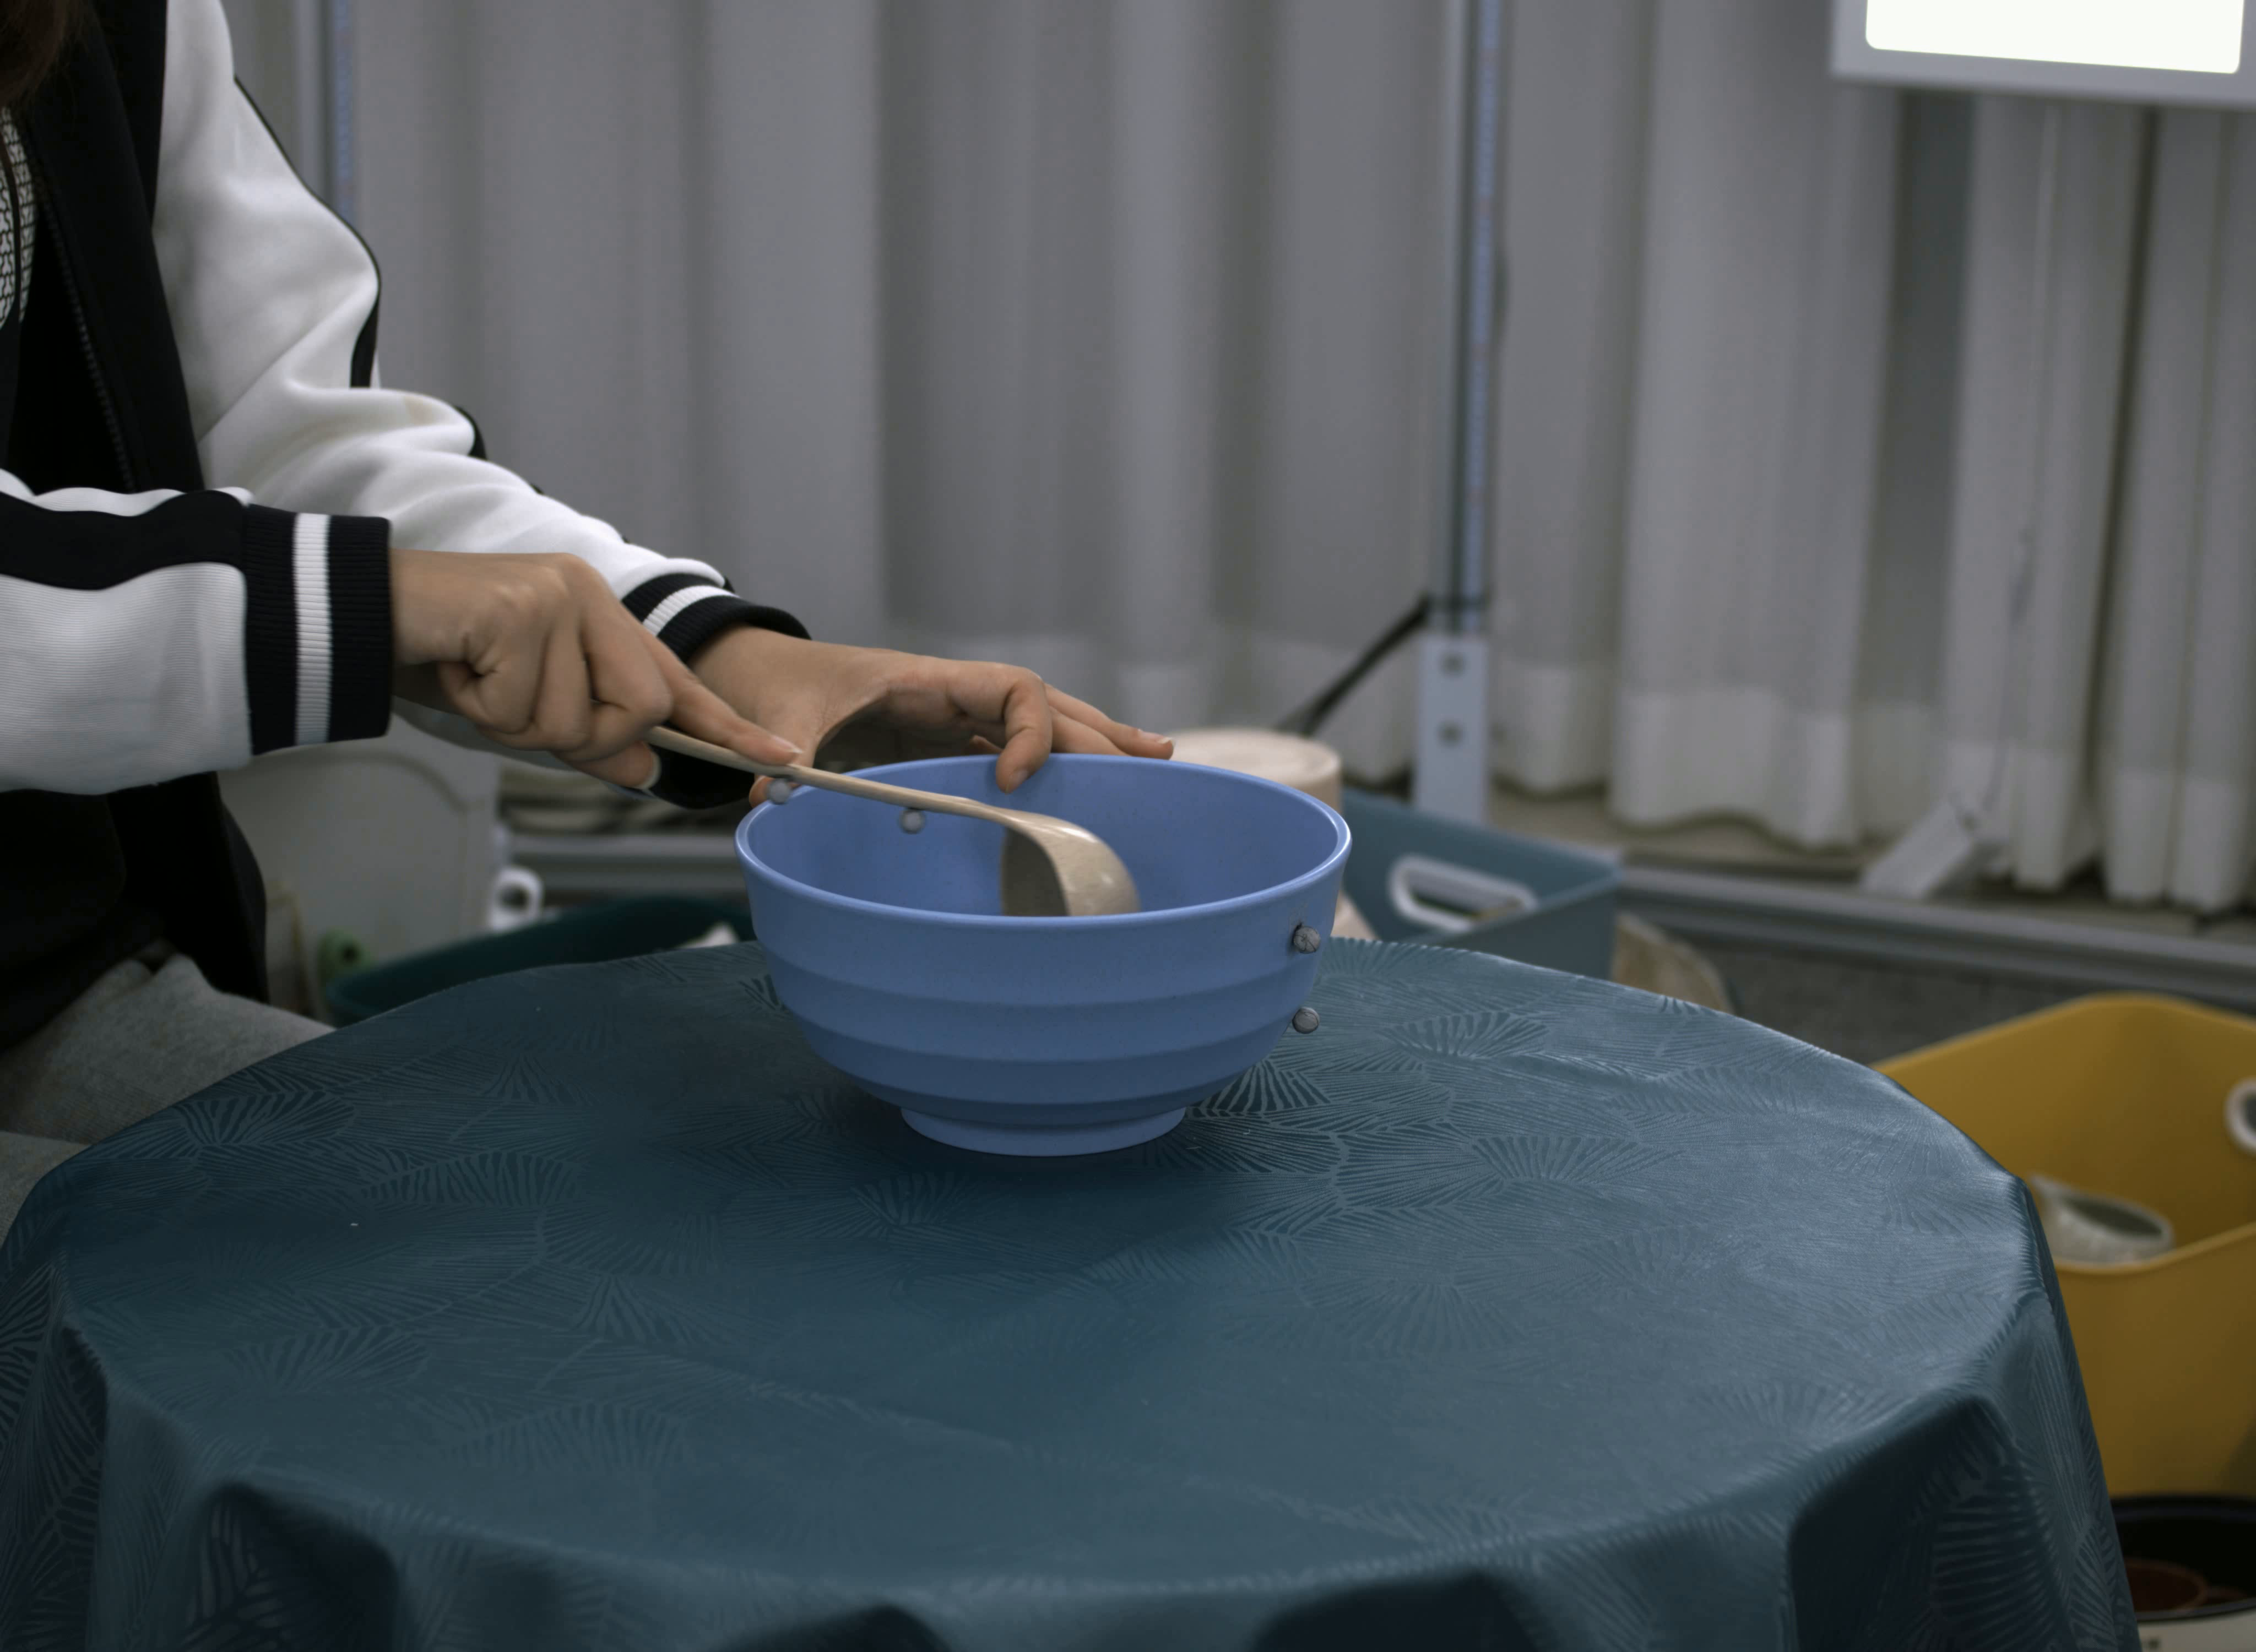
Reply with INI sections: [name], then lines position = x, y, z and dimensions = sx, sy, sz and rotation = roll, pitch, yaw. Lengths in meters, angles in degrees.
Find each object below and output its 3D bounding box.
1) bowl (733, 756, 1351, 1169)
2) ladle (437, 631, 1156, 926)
[bowl]
position = -0.026, 0.050, 1.682
dimensions = 0.196, 0.096, 0.195
rotation = -1, 17, 1
[ladle]
position = -0.111, 0.008, 1.679
dimensions = 0.256, 0.073, 0.071
rotation = 17, 6, -22
